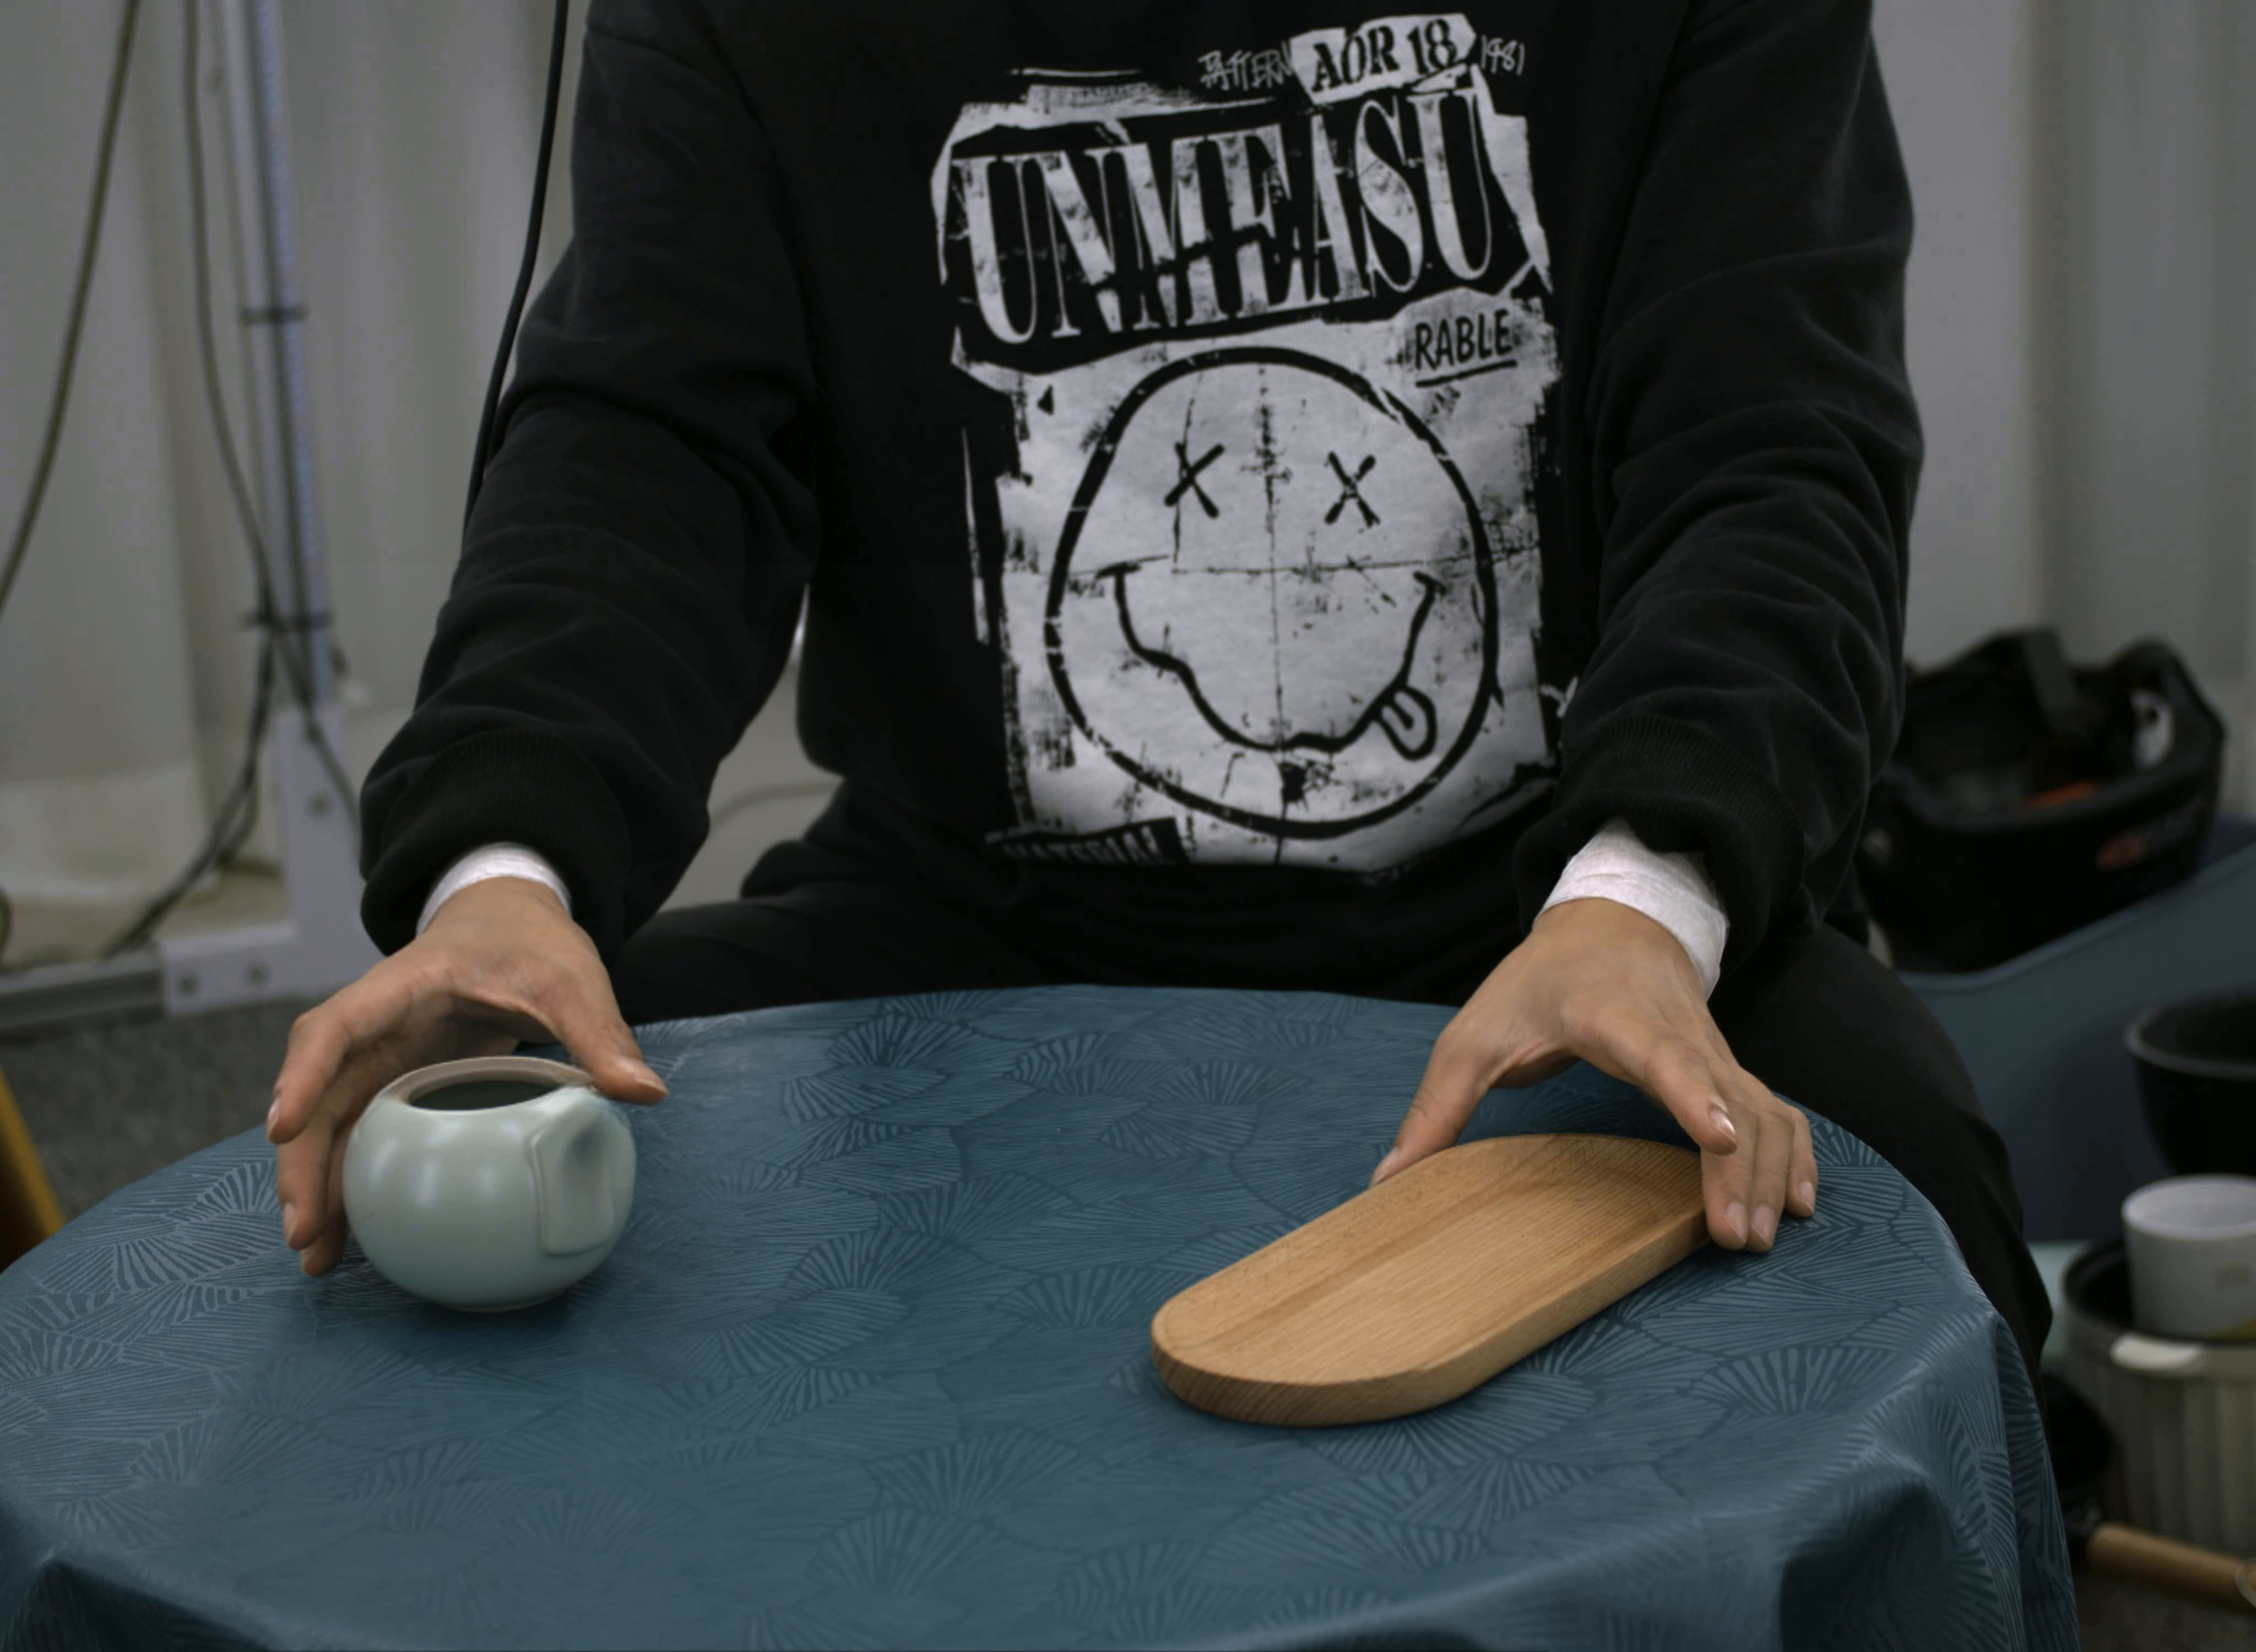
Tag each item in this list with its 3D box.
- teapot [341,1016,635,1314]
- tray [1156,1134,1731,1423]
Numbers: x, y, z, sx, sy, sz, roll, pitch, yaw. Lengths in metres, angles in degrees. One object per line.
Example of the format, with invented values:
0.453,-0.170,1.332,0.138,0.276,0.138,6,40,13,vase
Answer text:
-0.192,0.105,1.646,0.088,0.074,0.145,-13,19,-37,teapot
0.095,0.131,1.605,0.102,0.020,0.231,9,17,33,tray
